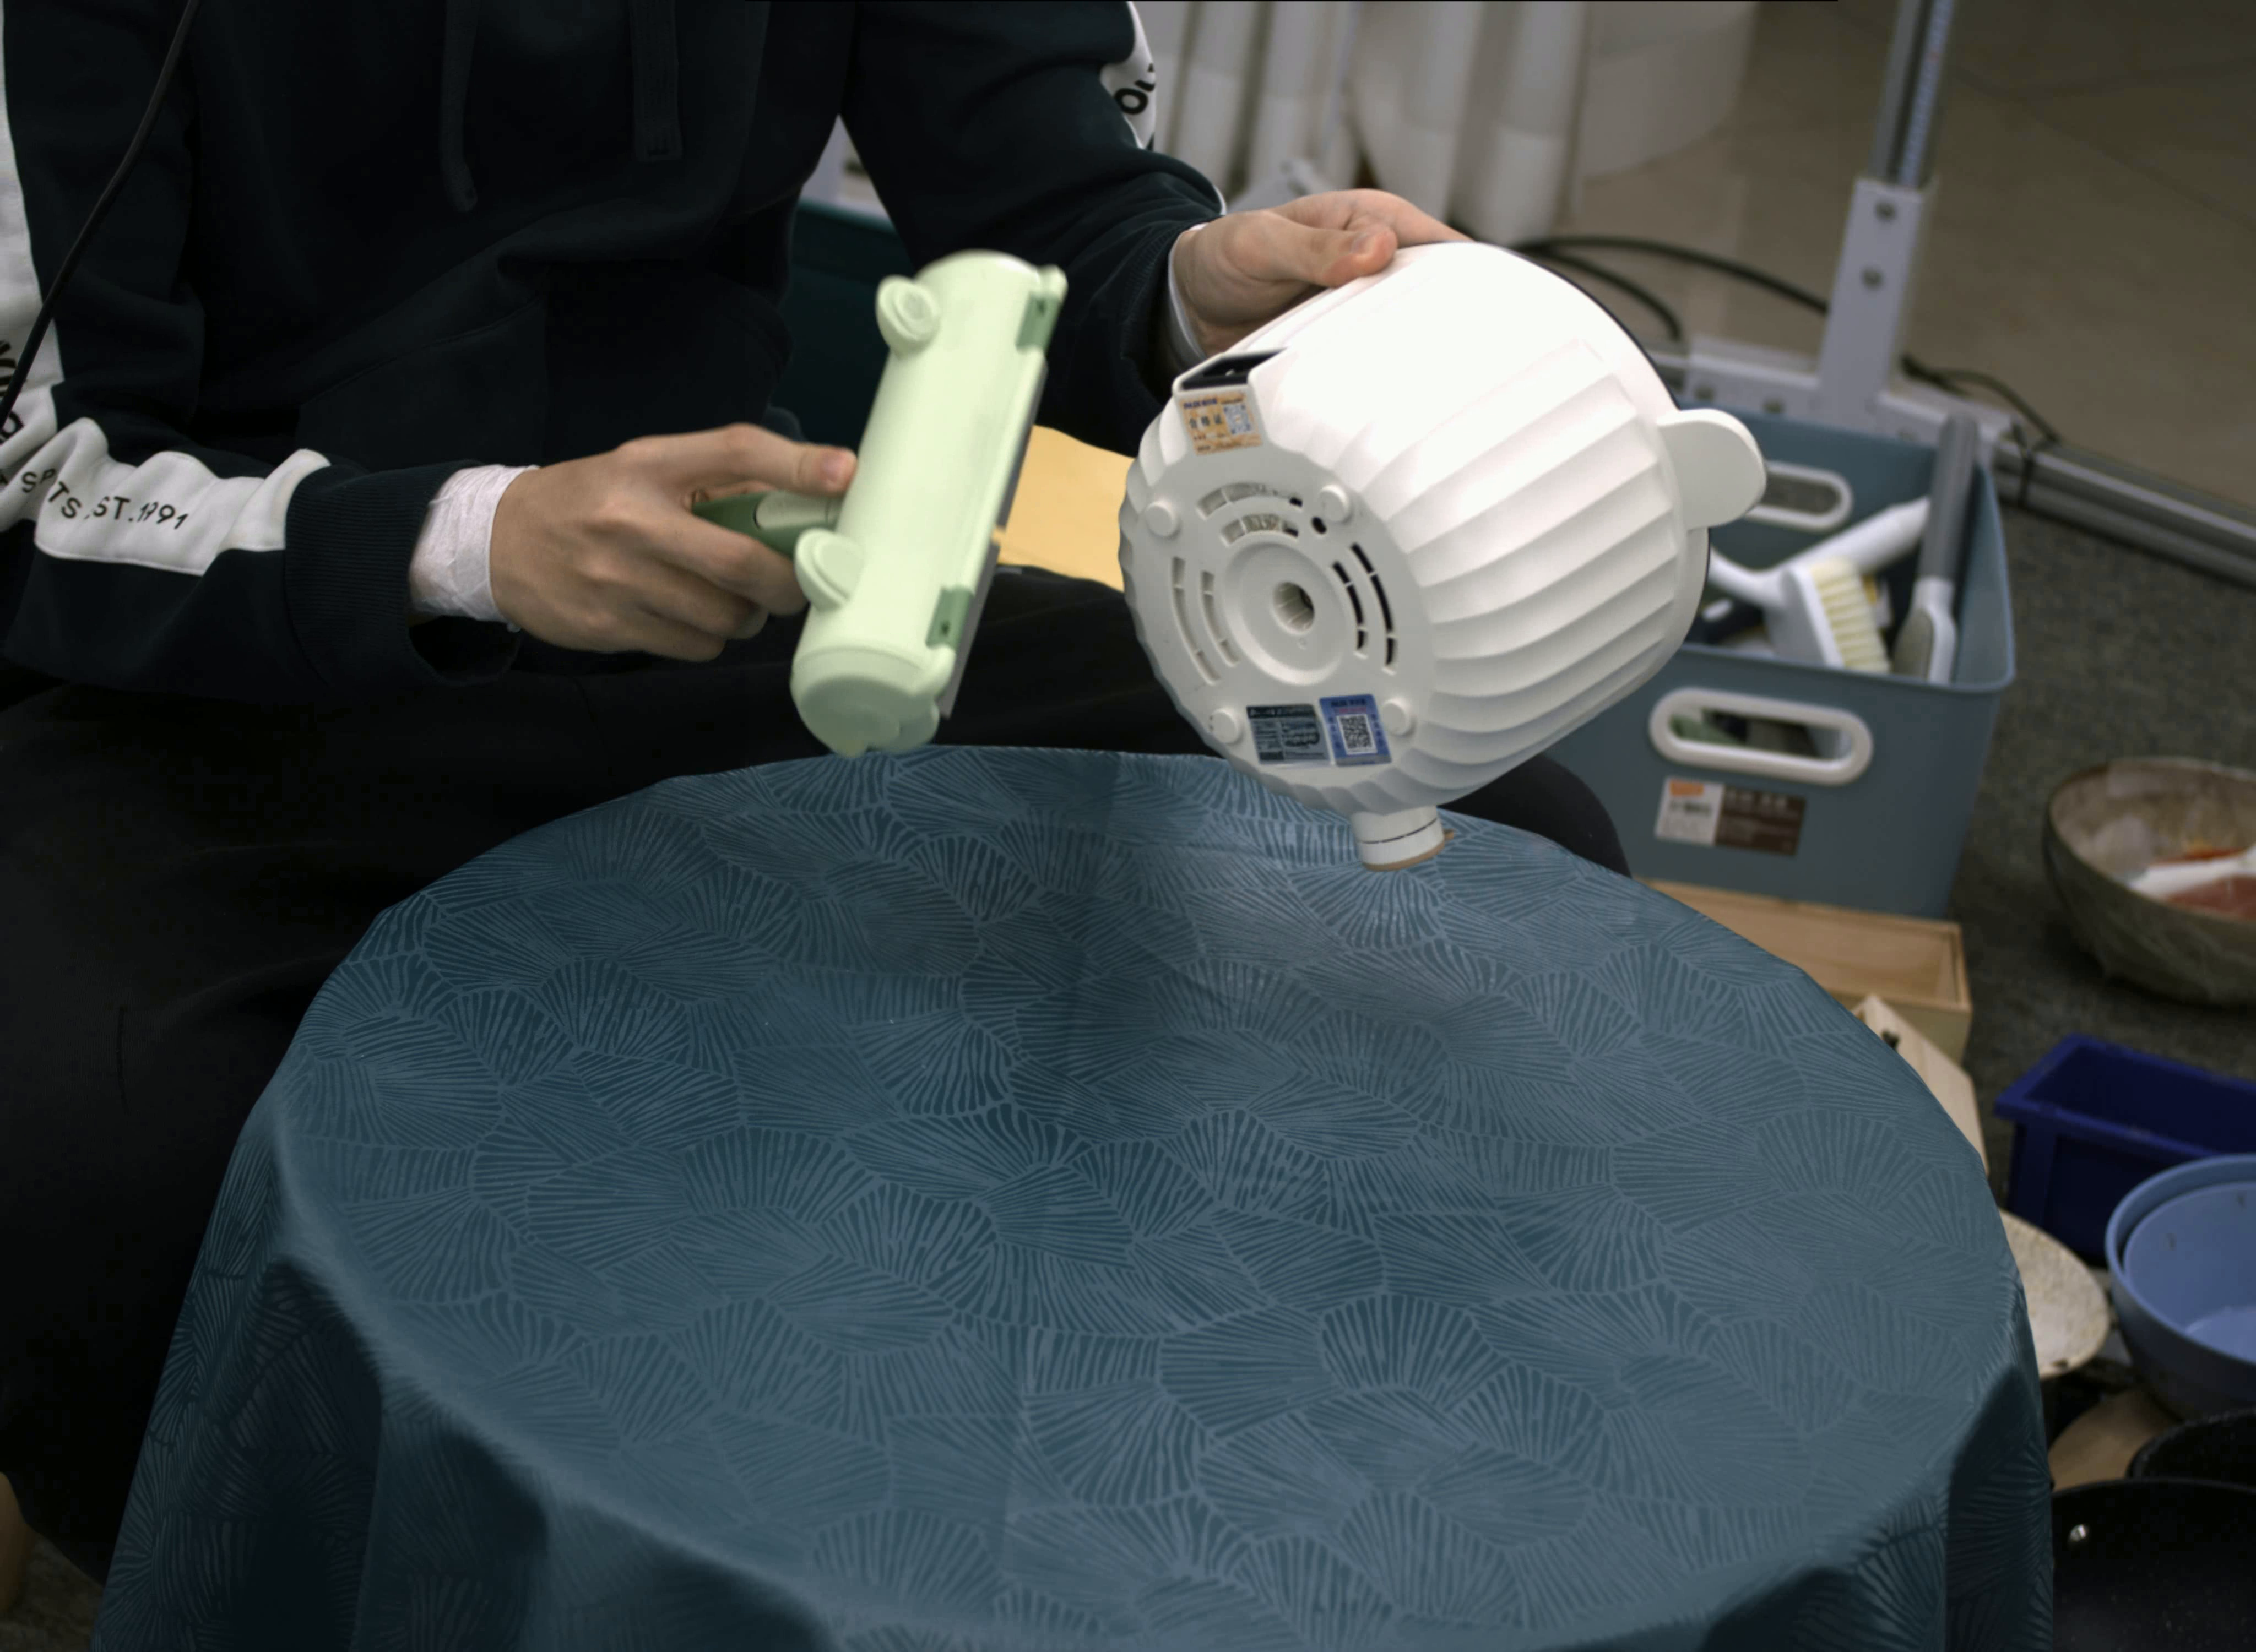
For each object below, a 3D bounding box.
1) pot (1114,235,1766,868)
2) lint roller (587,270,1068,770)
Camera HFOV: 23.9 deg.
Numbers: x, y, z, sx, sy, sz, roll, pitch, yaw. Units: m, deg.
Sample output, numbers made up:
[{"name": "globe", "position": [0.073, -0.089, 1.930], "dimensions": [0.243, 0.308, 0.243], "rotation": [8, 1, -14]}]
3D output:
[{"name": "pot", "position": [0.091, -0.094, 1.864], "dimensions": [0.241, 0.190, 0.142], "rotation": [-1, 24, 44]}, {"name": "lint roller", "position": [-0.123, -0.111, 1.884], "dimensions": [0.184, 0.081, 0.200], "rotation": [-3, 50, 24]}]
